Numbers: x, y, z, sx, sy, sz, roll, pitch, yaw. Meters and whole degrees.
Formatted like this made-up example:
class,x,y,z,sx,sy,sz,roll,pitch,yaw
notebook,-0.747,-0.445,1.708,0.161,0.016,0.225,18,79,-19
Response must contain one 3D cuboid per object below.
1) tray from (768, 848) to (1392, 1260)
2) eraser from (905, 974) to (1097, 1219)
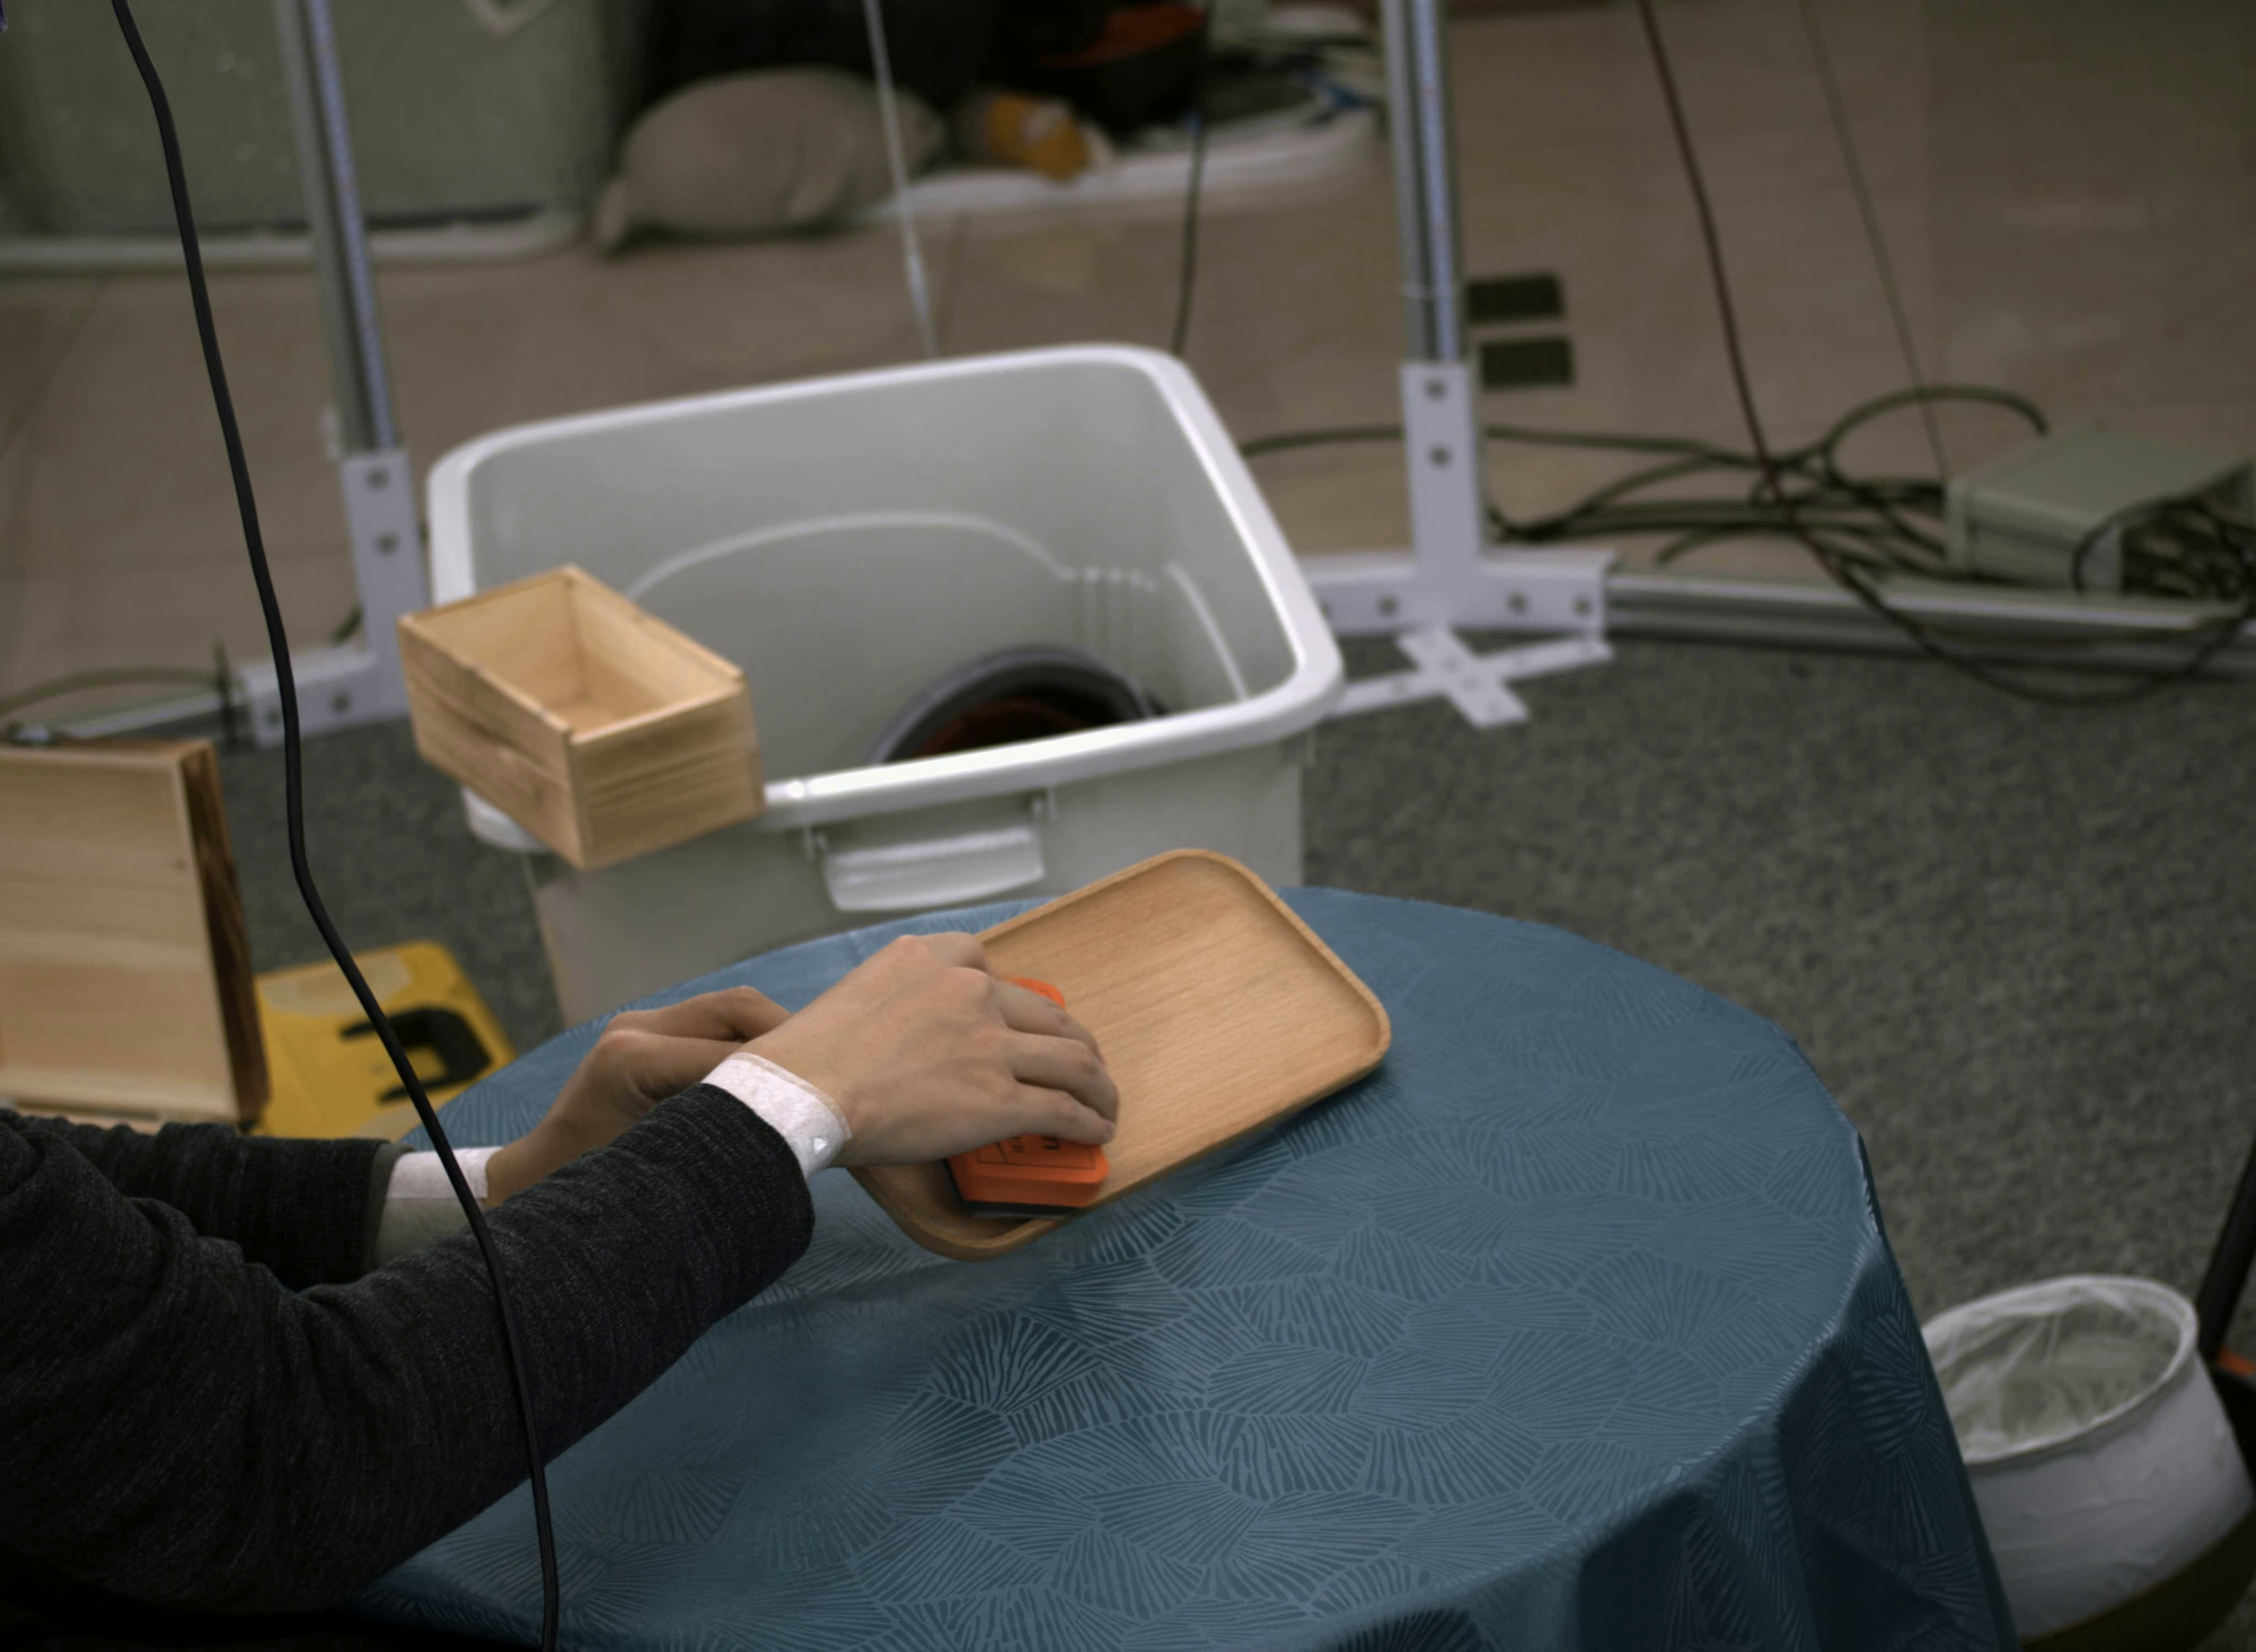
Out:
class,x,y,z,sx,sy,sz,roll,pitch,yaw
tray,-0.017,0.086,2.167,0.249,0.023,0.129,-23,57,-38
eraser,-0.048,0.100,2.117,0.059,0.023,0.106,3,43,-16
